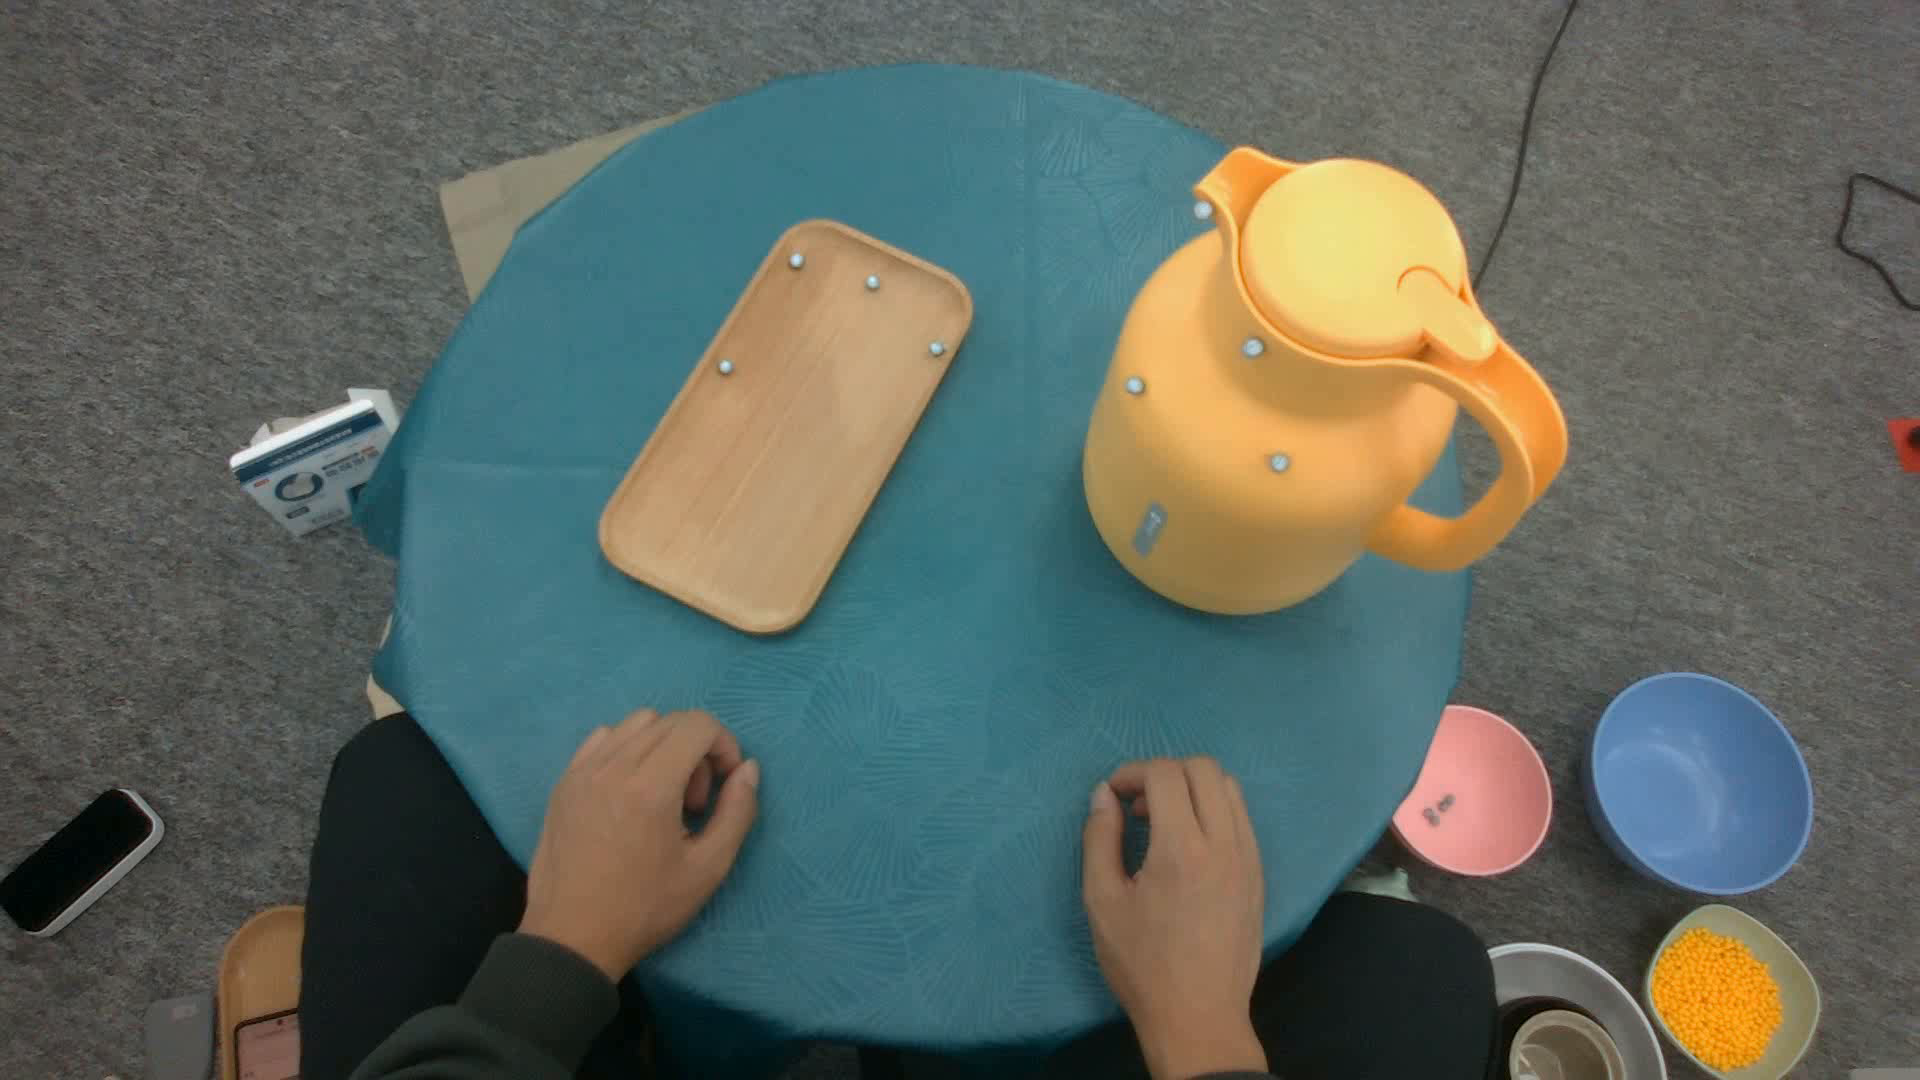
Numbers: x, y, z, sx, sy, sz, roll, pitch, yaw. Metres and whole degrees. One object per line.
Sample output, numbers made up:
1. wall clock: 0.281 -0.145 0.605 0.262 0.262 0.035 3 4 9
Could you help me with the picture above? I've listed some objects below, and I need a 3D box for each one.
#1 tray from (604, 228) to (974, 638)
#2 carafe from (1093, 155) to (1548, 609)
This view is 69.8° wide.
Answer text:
1. tray: -0.094 -0.067 0.797 0.130 0.023 0.251 25 70 10
2. carafe: 0.168 -0.061 0.675 0.202 0.259 0.164 43 76 15
